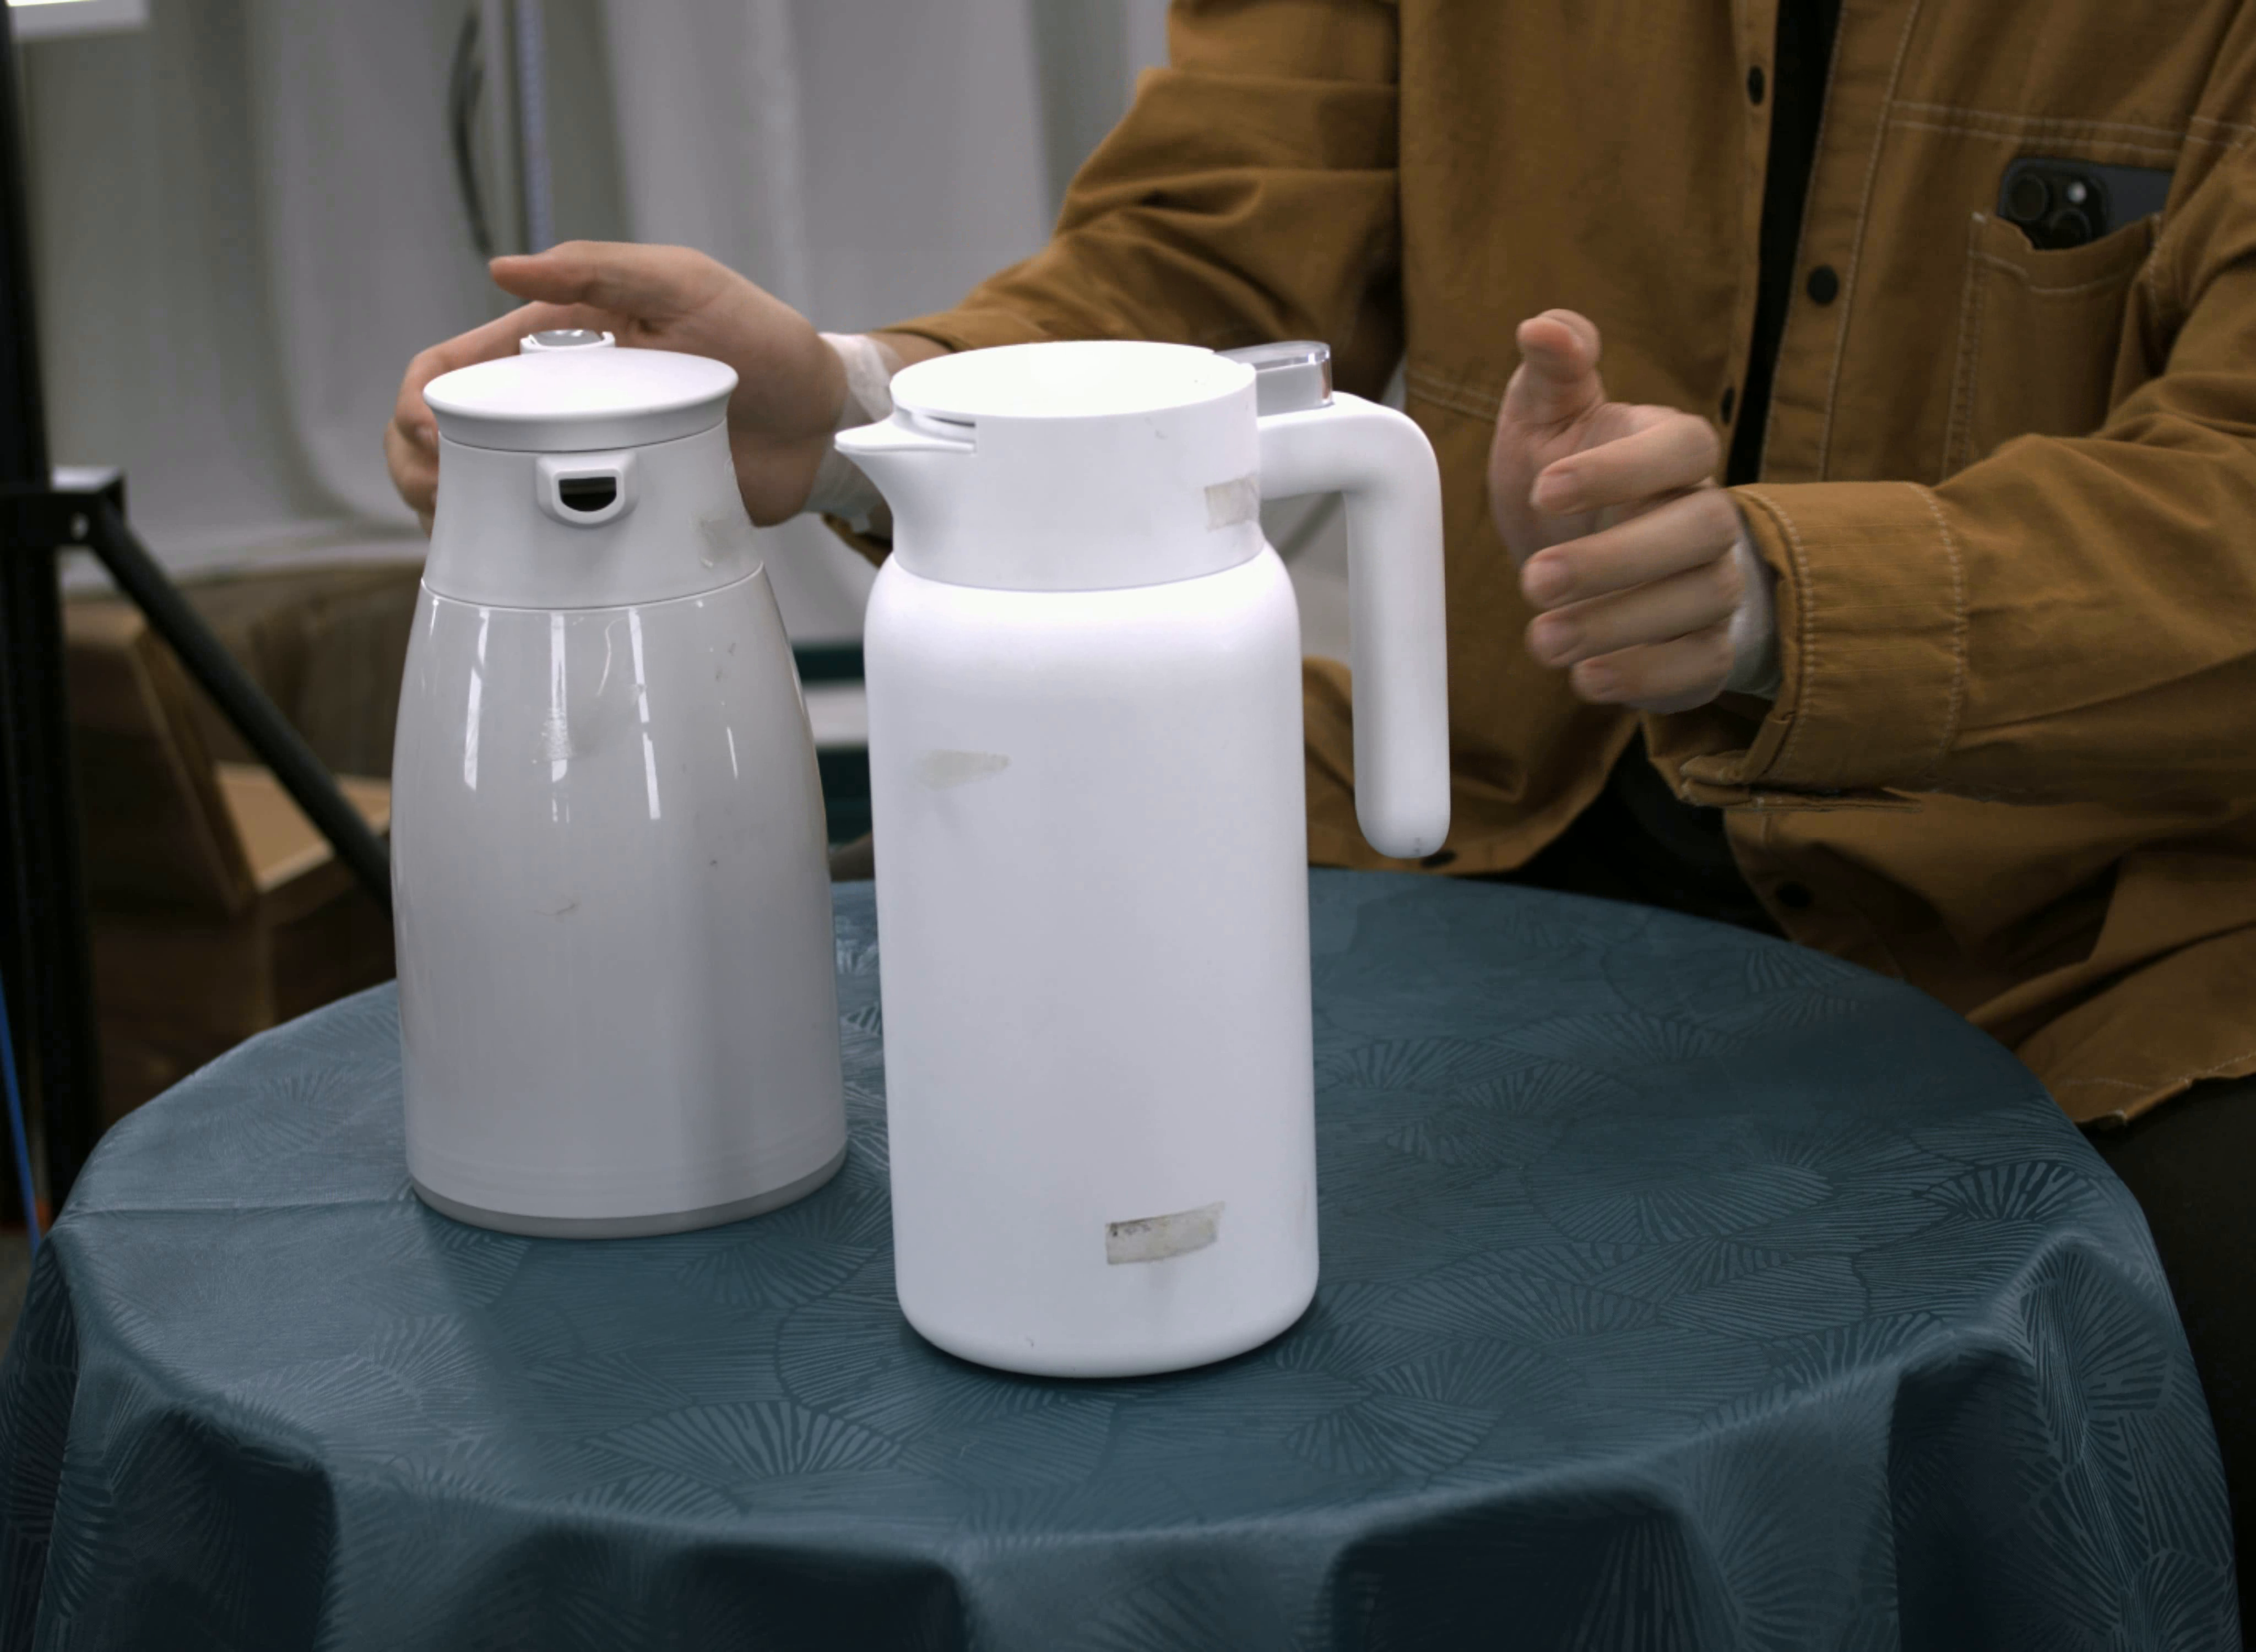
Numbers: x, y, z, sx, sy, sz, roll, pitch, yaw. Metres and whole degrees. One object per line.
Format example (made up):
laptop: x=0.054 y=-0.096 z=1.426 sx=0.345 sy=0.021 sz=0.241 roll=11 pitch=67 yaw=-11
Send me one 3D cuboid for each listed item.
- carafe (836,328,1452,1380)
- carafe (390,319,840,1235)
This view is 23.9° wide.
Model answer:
carafe: x=0.006 y=0.004 z=1.434 sx=0.169 sy=0.269 sz=0.126 roll=-9 pitch=14 yaw=-24
carafe: x=-0.157 y=-0.023 z=1.589 sx=0.131 sy=0.249 sz=0.169 roll=-3 pitch=14 yaw=-5
